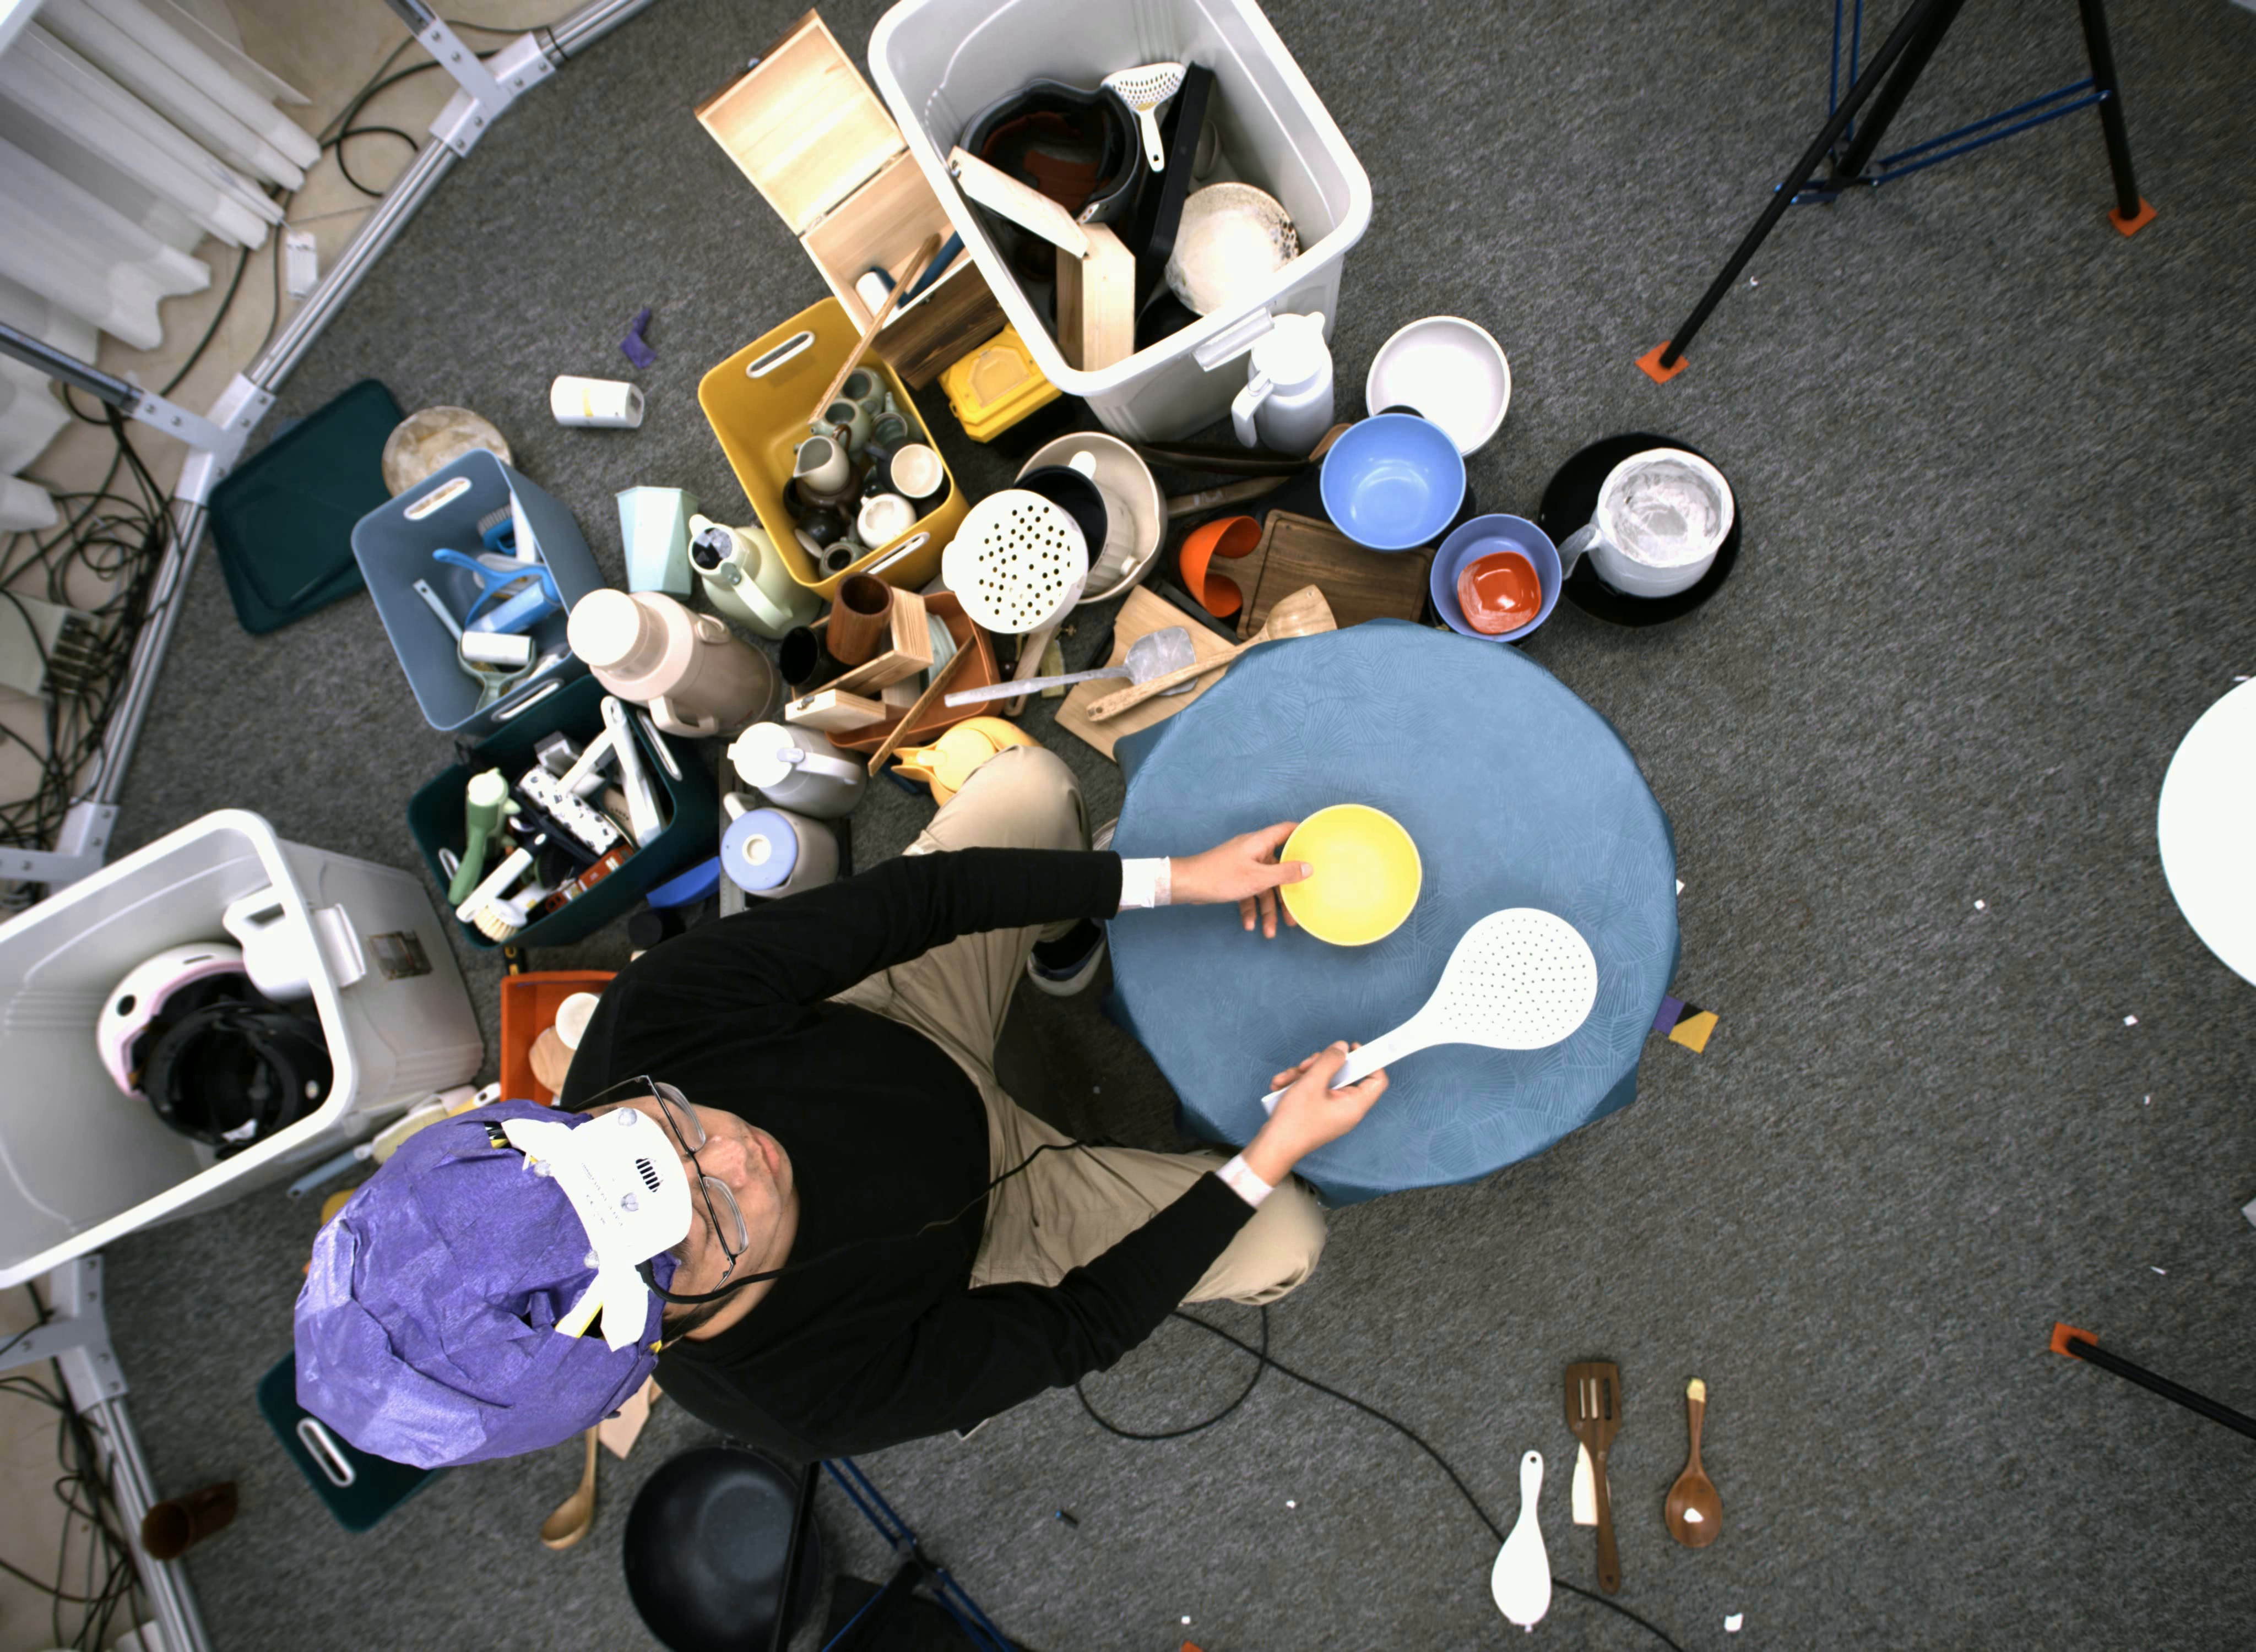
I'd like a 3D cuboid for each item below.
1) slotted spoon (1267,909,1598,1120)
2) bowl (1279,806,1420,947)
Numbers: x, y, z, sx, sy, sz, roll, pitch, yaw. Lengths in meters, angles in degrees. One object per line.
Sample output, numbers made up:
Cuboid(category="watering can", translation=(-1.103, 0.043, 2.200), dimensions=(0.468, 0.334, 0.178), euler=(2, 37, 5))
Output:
Cuboid(category="slotted spoon", translation=(0.296, 0.199, 1.364), dimensions=(0.350, 0.046, 0.134), euler=(-28, 76, 3))
Cuboid(category="bowl", translation=(0.229, 0.055, 1.439), dimensions=(0.146, 0.060, 0.144), euler=(-1, 83, 7))
